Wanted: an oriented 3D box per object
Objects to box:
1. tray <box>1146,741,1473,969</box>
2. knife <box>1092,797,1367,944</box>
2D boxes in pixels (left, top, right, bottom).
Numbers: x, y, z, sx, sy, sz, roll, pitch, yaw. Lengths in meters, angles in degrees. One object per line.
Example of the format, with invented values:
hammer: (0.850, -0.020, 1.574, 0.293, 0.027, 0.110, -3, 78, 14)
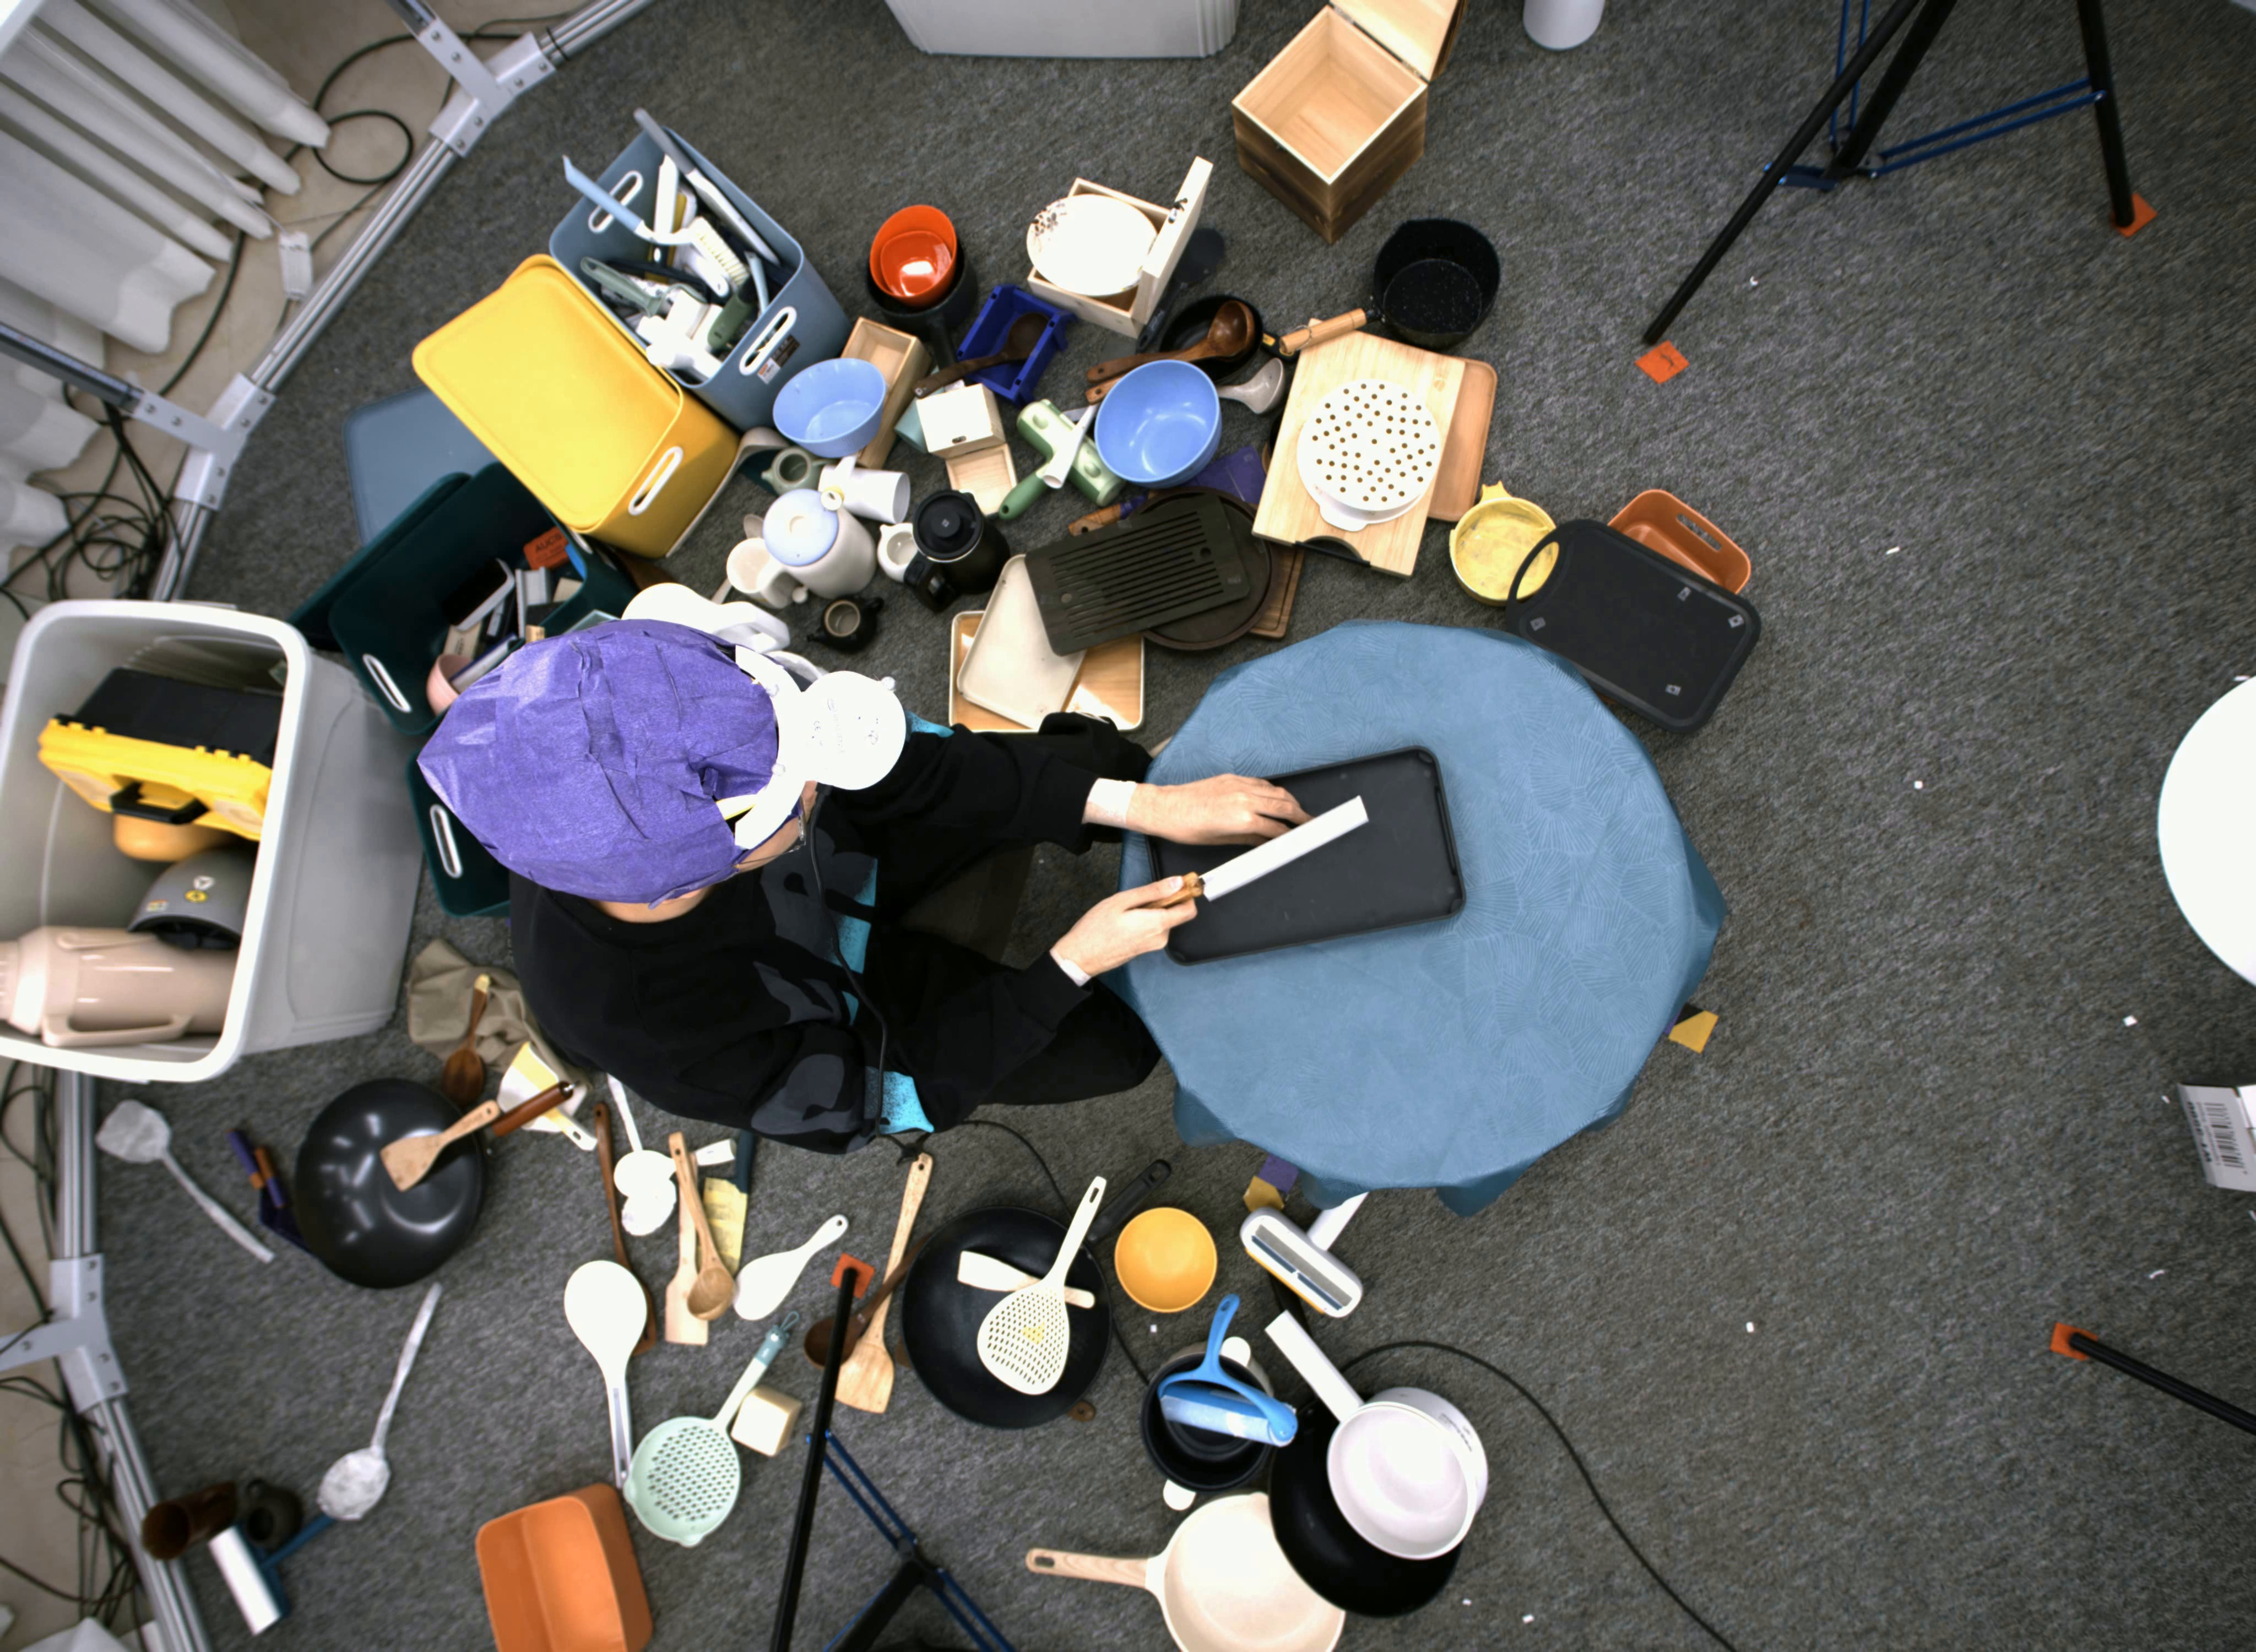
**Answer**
tray: (0.189, 0.031, 1.459, 0.320, 0.037, 0.183, -13, 85, 10)
knife: (0.108, 0.050, 1.438, 0.307, 0.093, 0.020, -28, 68, 8)
